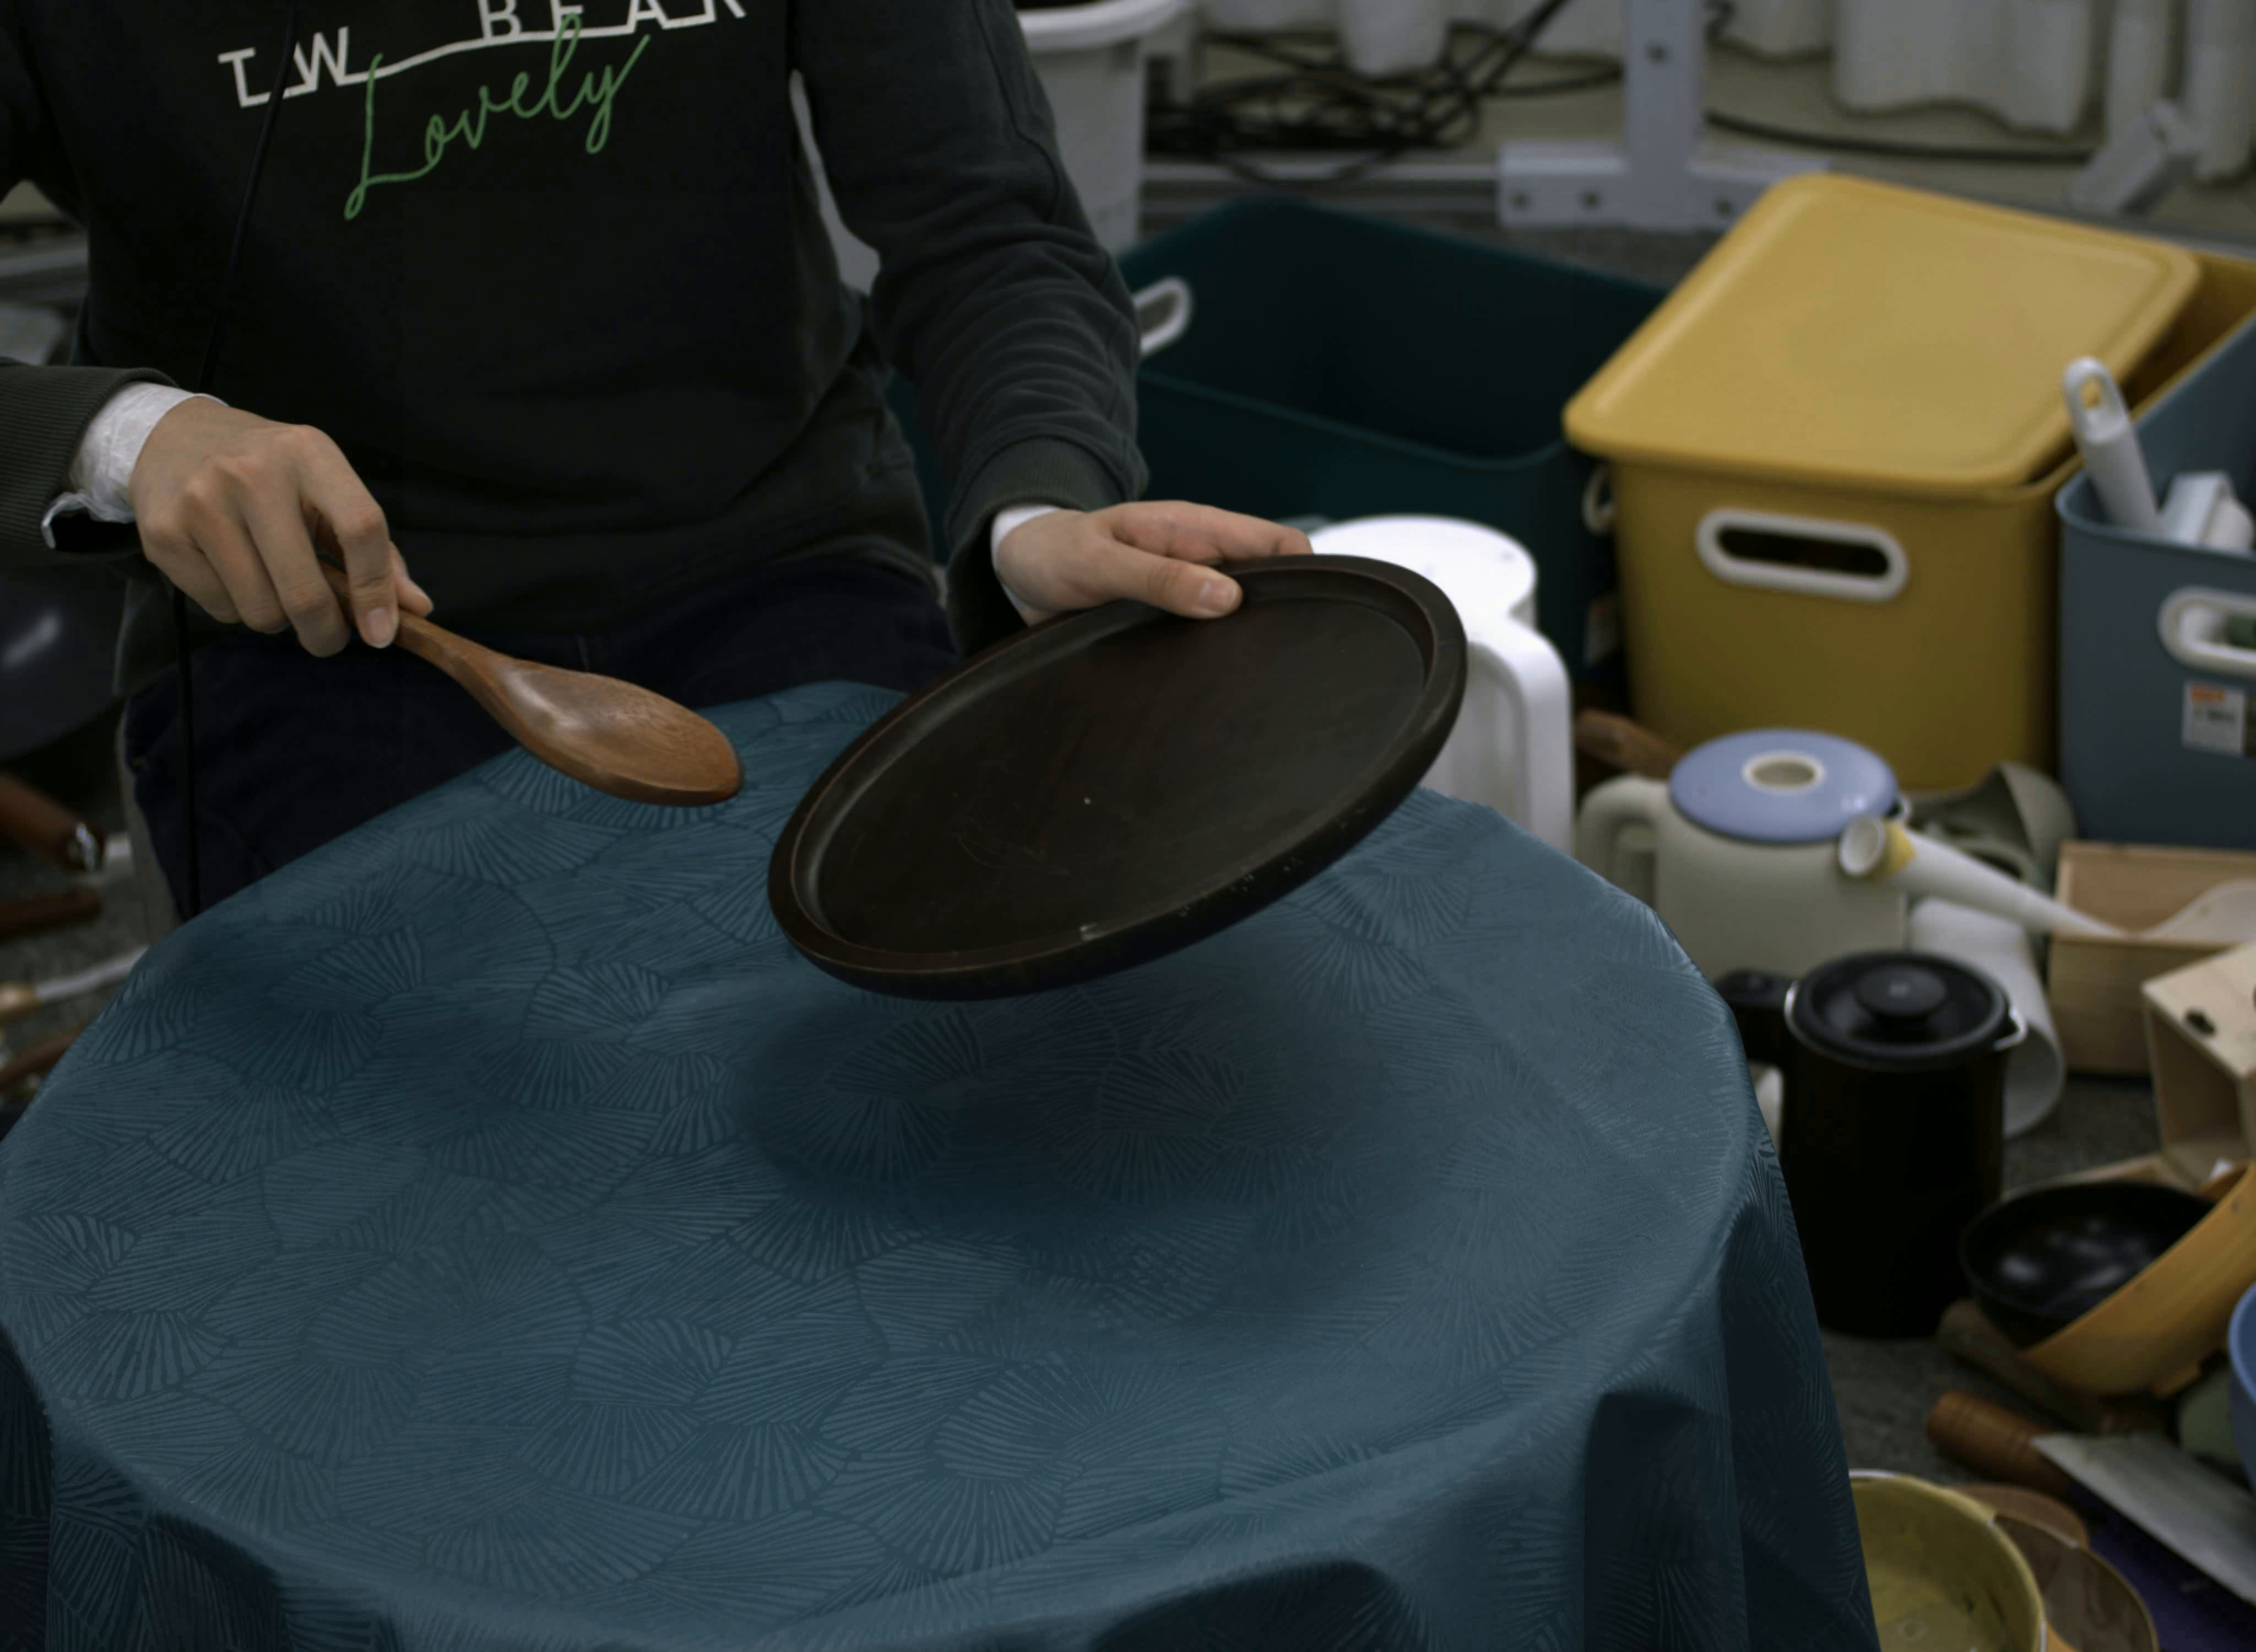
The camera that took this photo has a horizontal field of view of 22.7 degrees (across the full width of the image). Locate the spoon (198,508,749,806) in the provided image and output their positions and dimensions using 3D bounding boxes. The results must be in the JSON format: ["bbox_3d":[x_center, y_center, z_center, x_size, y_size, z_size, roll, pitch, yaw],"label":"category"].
[{"bbox_3d":[-0.222,-0.055,1.887,0.215,0.017,0.076,28,25,17],"label":"spoon"}]

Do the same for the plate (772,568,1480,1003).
[{"bbox_3d":[0.000,-0.015,1.895,0.253,0.029,0.259,-18,26,9],"label":"plate"}]
